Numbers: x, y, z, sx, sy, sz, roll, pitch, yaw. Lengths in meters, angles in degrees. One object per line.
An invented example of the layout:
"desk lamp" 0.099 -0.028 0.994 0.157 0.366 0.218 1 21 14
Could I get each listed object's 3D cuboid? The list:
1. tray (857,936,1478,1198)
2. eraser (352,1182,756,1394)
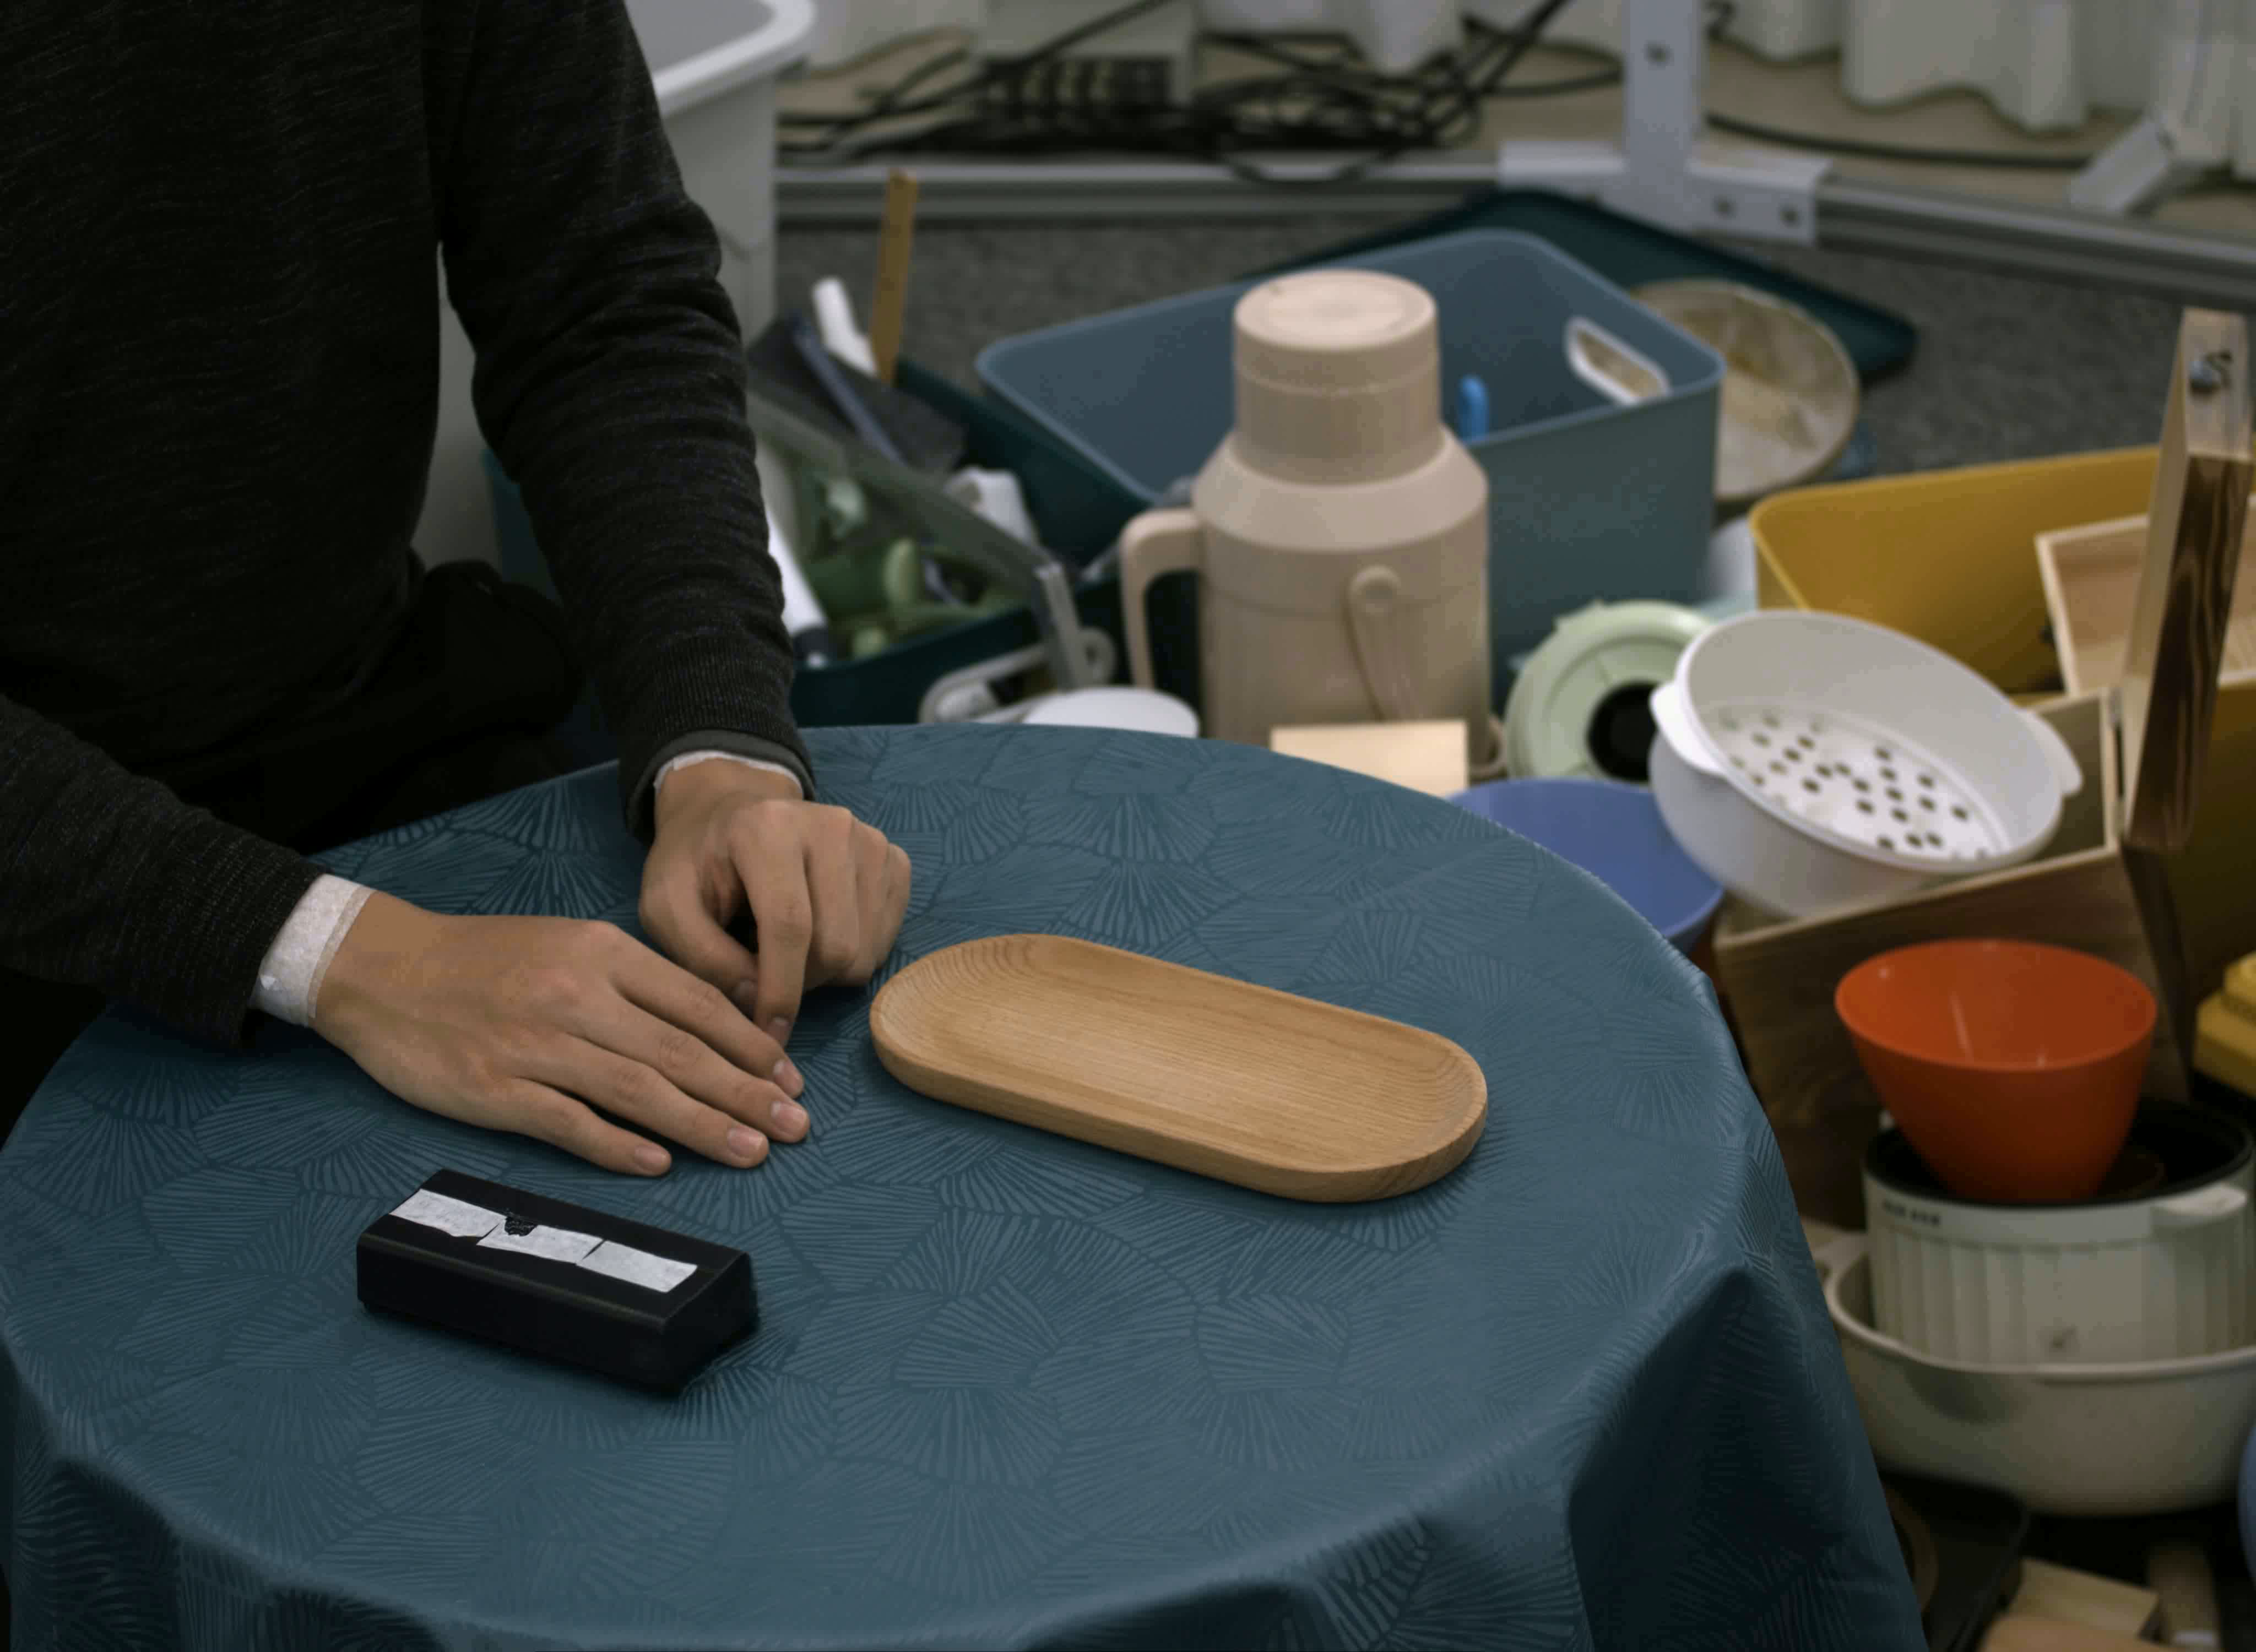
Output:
"tray" 0.012 0.082 1.919 0.230 0.020 0.103 12 29 29
"eraser" -0.183 0.148 1.799 0.125 0.030 0.054 11 28 27
